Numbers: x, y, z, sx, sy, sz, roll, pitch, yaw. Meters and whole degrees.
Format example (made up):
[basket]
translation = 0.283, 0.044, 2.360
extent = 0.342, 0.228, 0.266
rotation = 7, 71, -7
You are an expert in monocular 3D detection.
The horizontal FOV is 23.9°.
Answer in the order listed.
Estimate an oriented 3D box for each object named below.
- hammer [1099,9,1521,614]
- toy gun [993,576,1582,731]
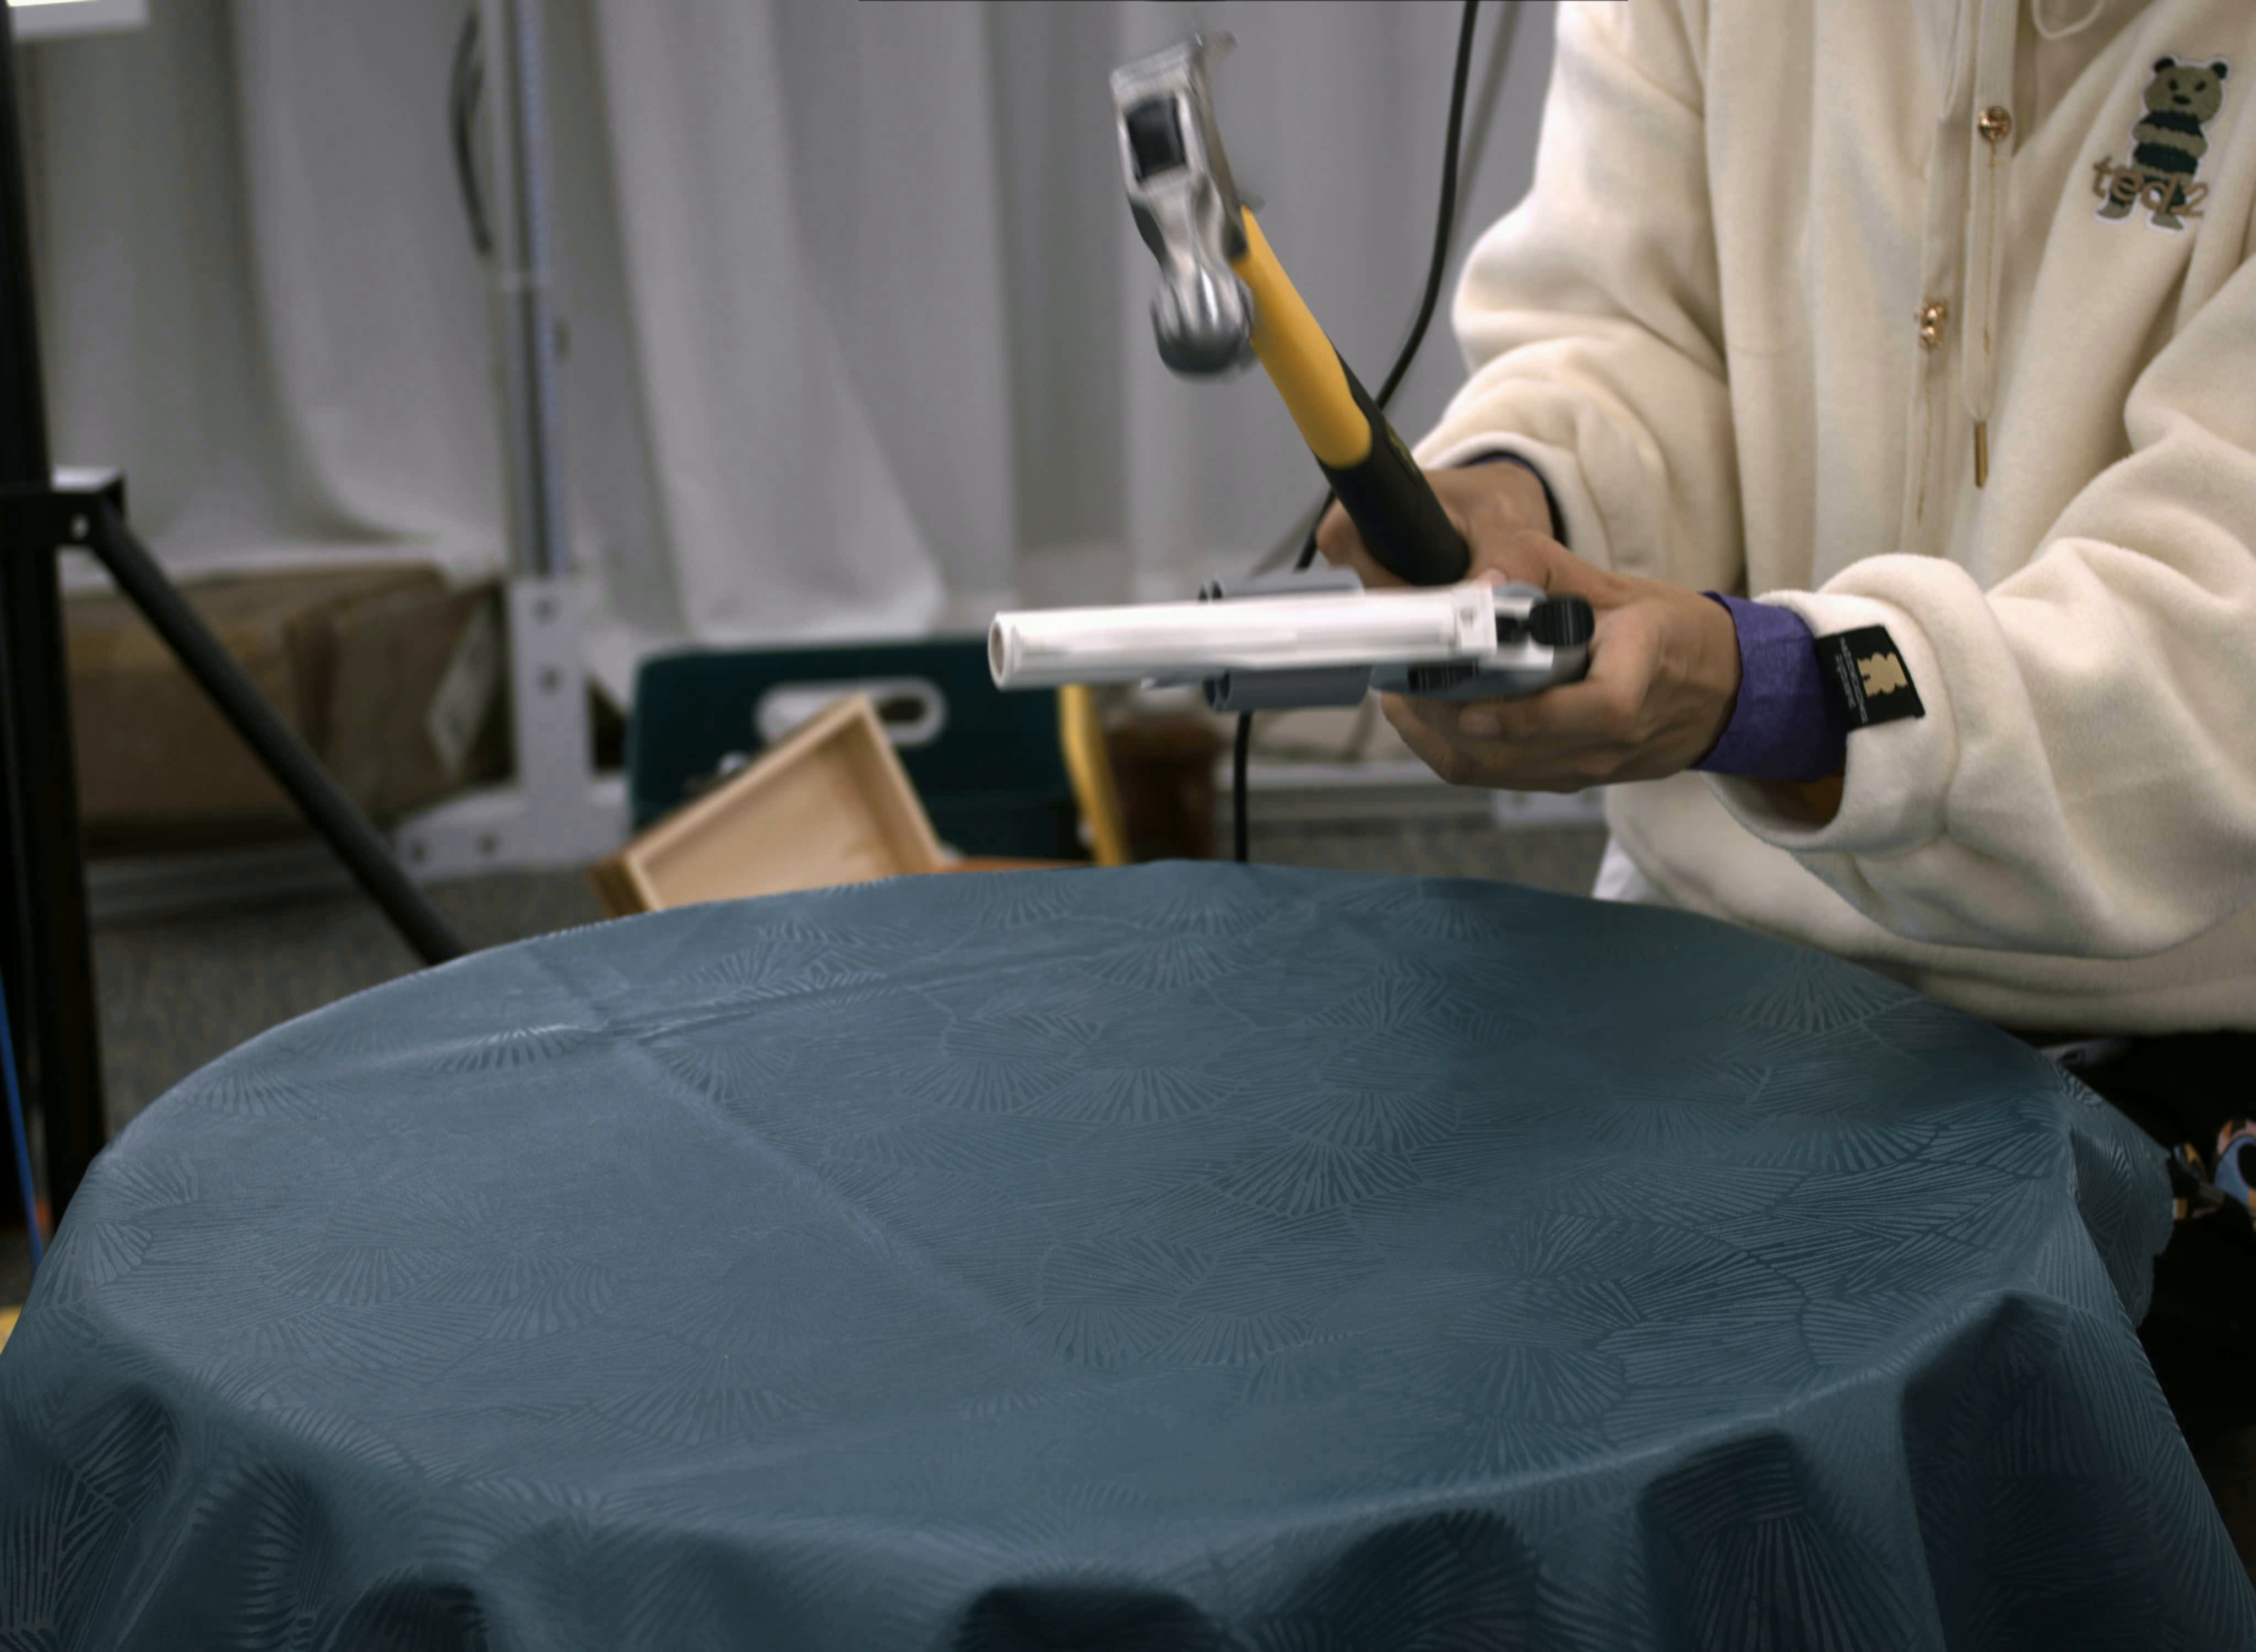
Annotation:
[hammer]
translation = 0.065, -0.132, 1.636
extent = 0.032, 0.133, 0.331
rotation = -20, -31, 13
[toy gun]
translation = 0.050, -0.047, 1.483
extent = 0.205, 0.039, 0.143
rotation = -2, -2, -17
